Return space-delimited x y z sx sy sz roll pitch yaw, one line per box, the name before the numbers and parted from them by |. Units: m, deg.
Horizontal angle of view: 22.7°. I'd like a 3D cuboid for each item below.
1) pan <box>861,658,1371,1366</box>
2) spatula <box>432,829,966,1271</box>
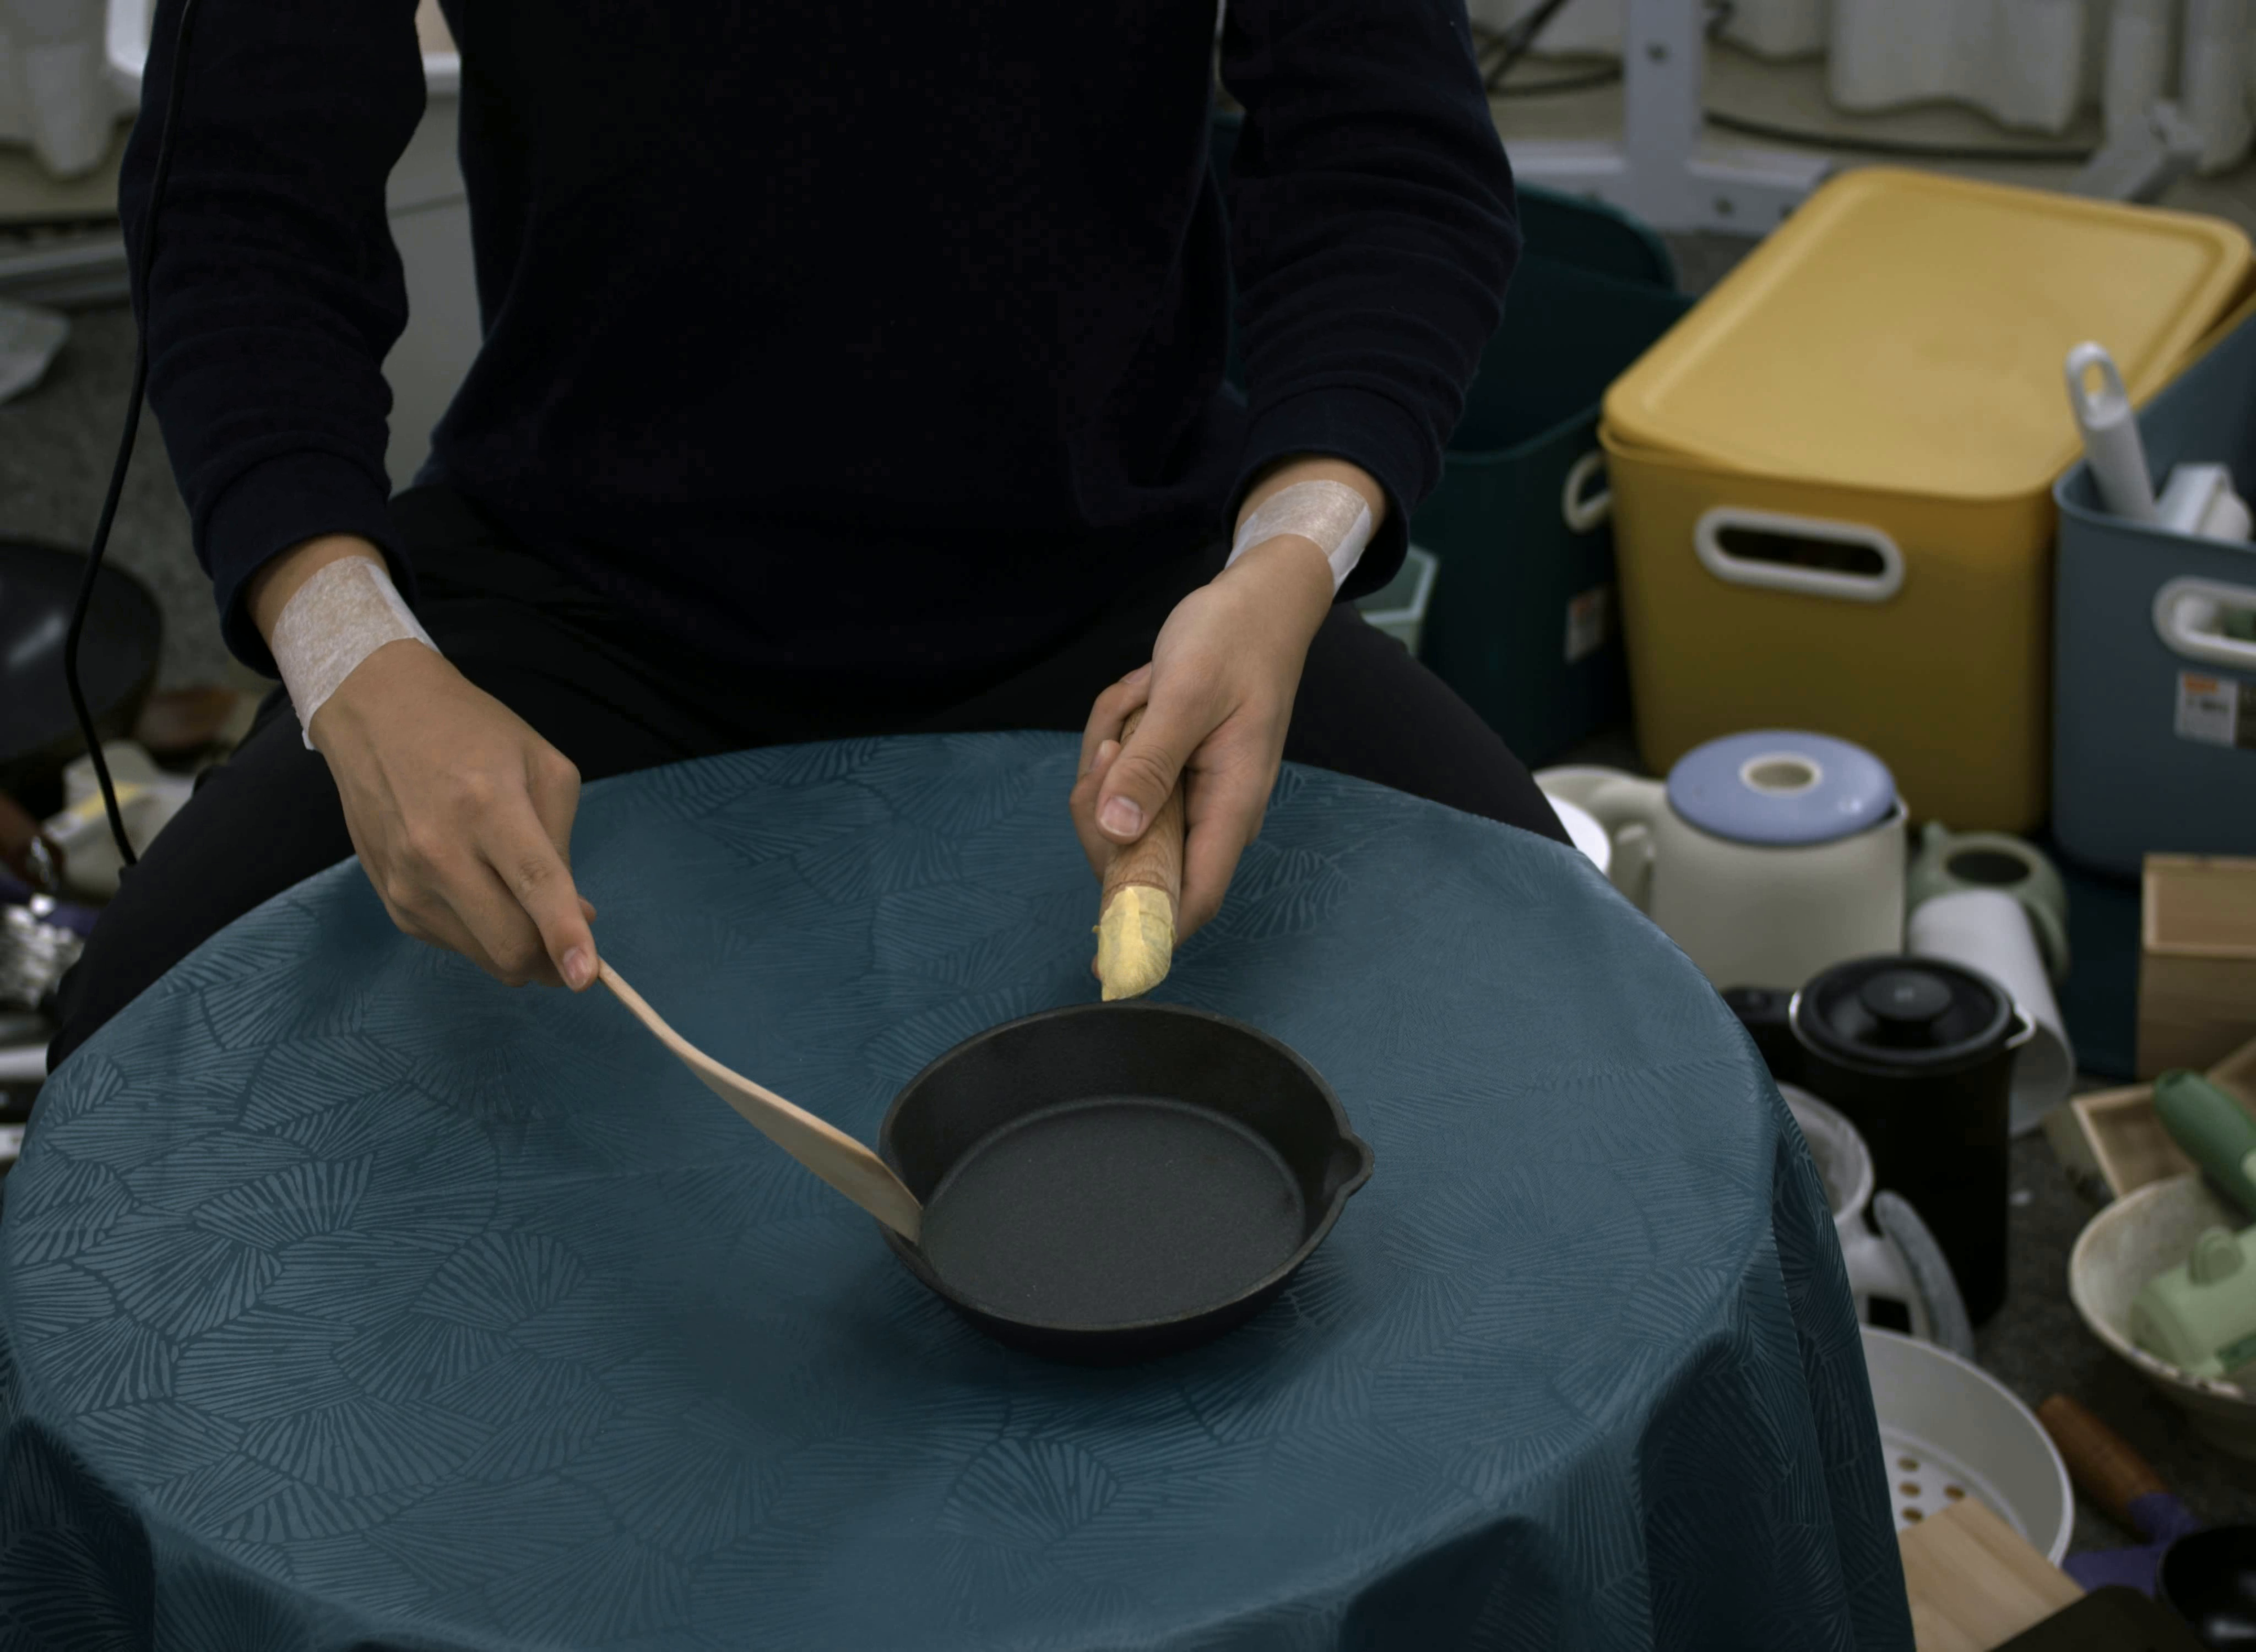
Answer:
pan | 0.003 0.060 1.873 0.168 0.049 0.331 1 39 6
spatula | -0.149 0.064 1.836 0.016 0.079 0.328 -45 38 -8
